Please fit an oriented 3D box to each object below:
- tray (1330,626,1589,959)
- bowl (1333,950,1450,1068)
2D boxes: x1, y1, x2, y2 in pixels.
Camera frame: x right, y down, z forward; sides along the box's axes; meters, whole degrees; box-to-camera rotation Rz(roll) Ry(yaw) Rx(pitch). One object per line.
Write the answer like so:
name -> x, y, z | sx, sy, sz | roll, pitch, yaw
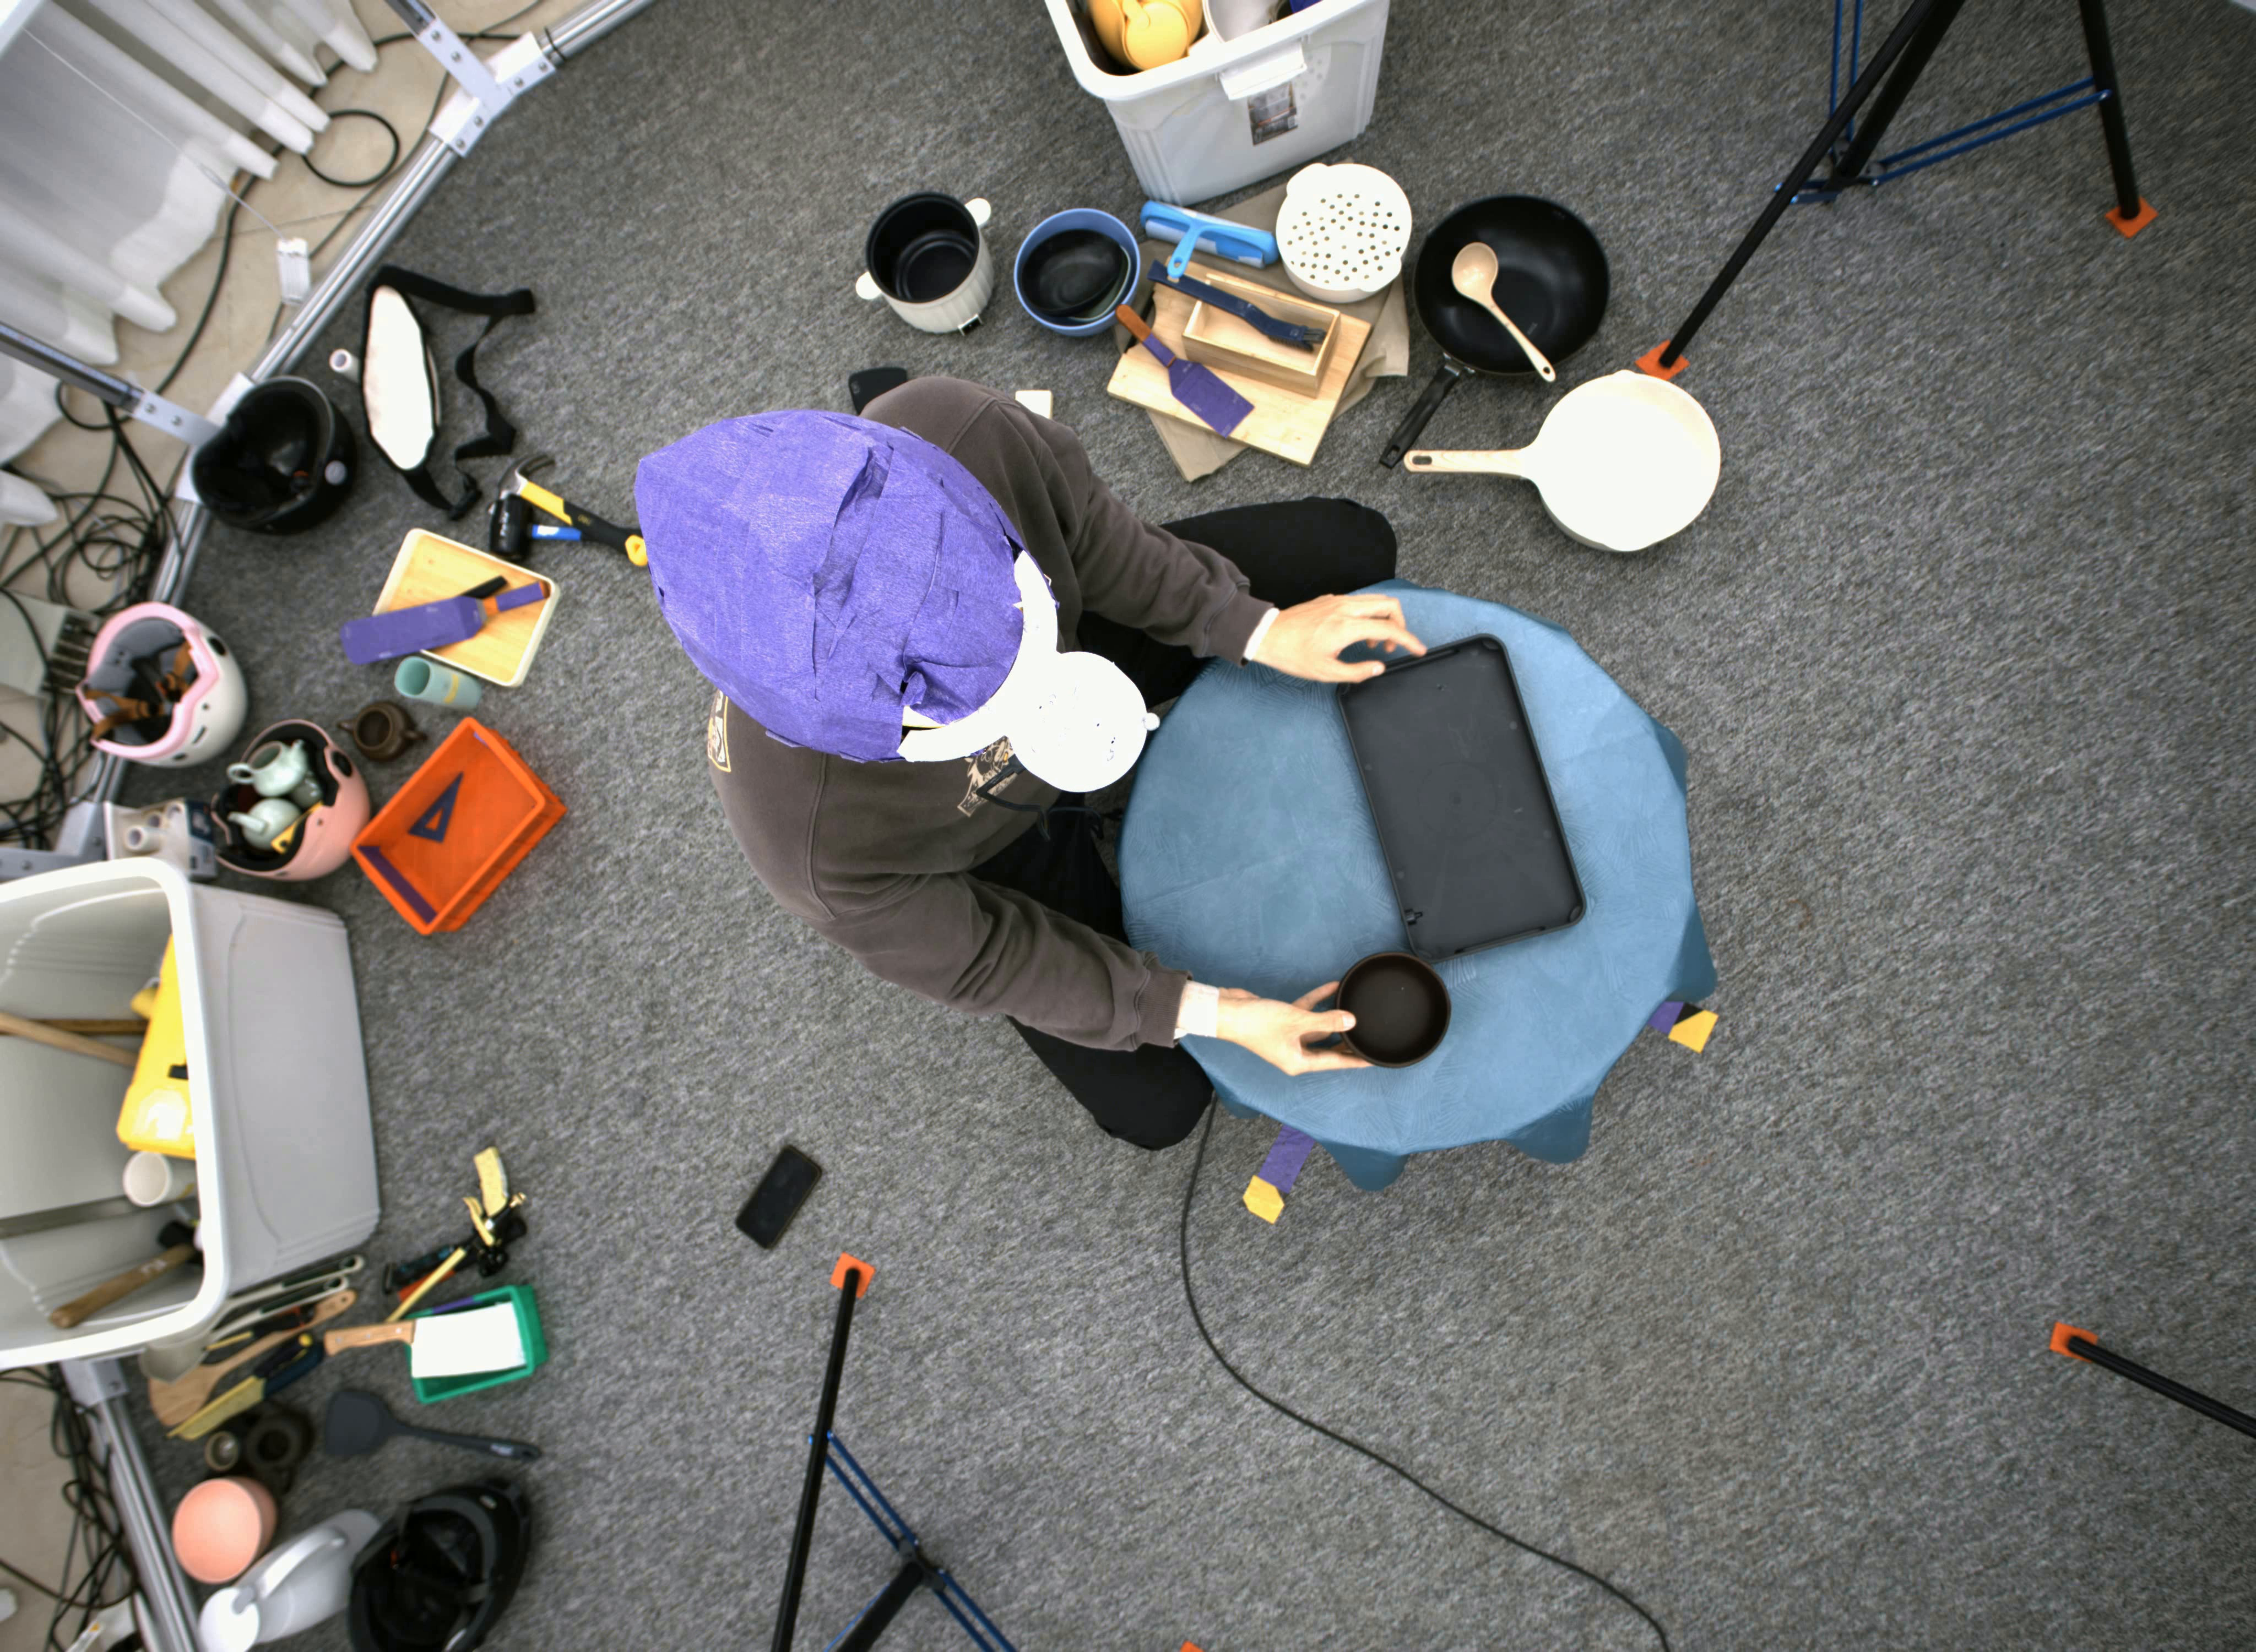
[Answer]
tray -> 0.342, -0.036, 1.431 | 0.185, 0.037, 0.316 | -18, 85, 10
bowl -> 0.268, 0.186, 1.414 | 0.118, 0.070, 0.117 | -1, 83, 8
